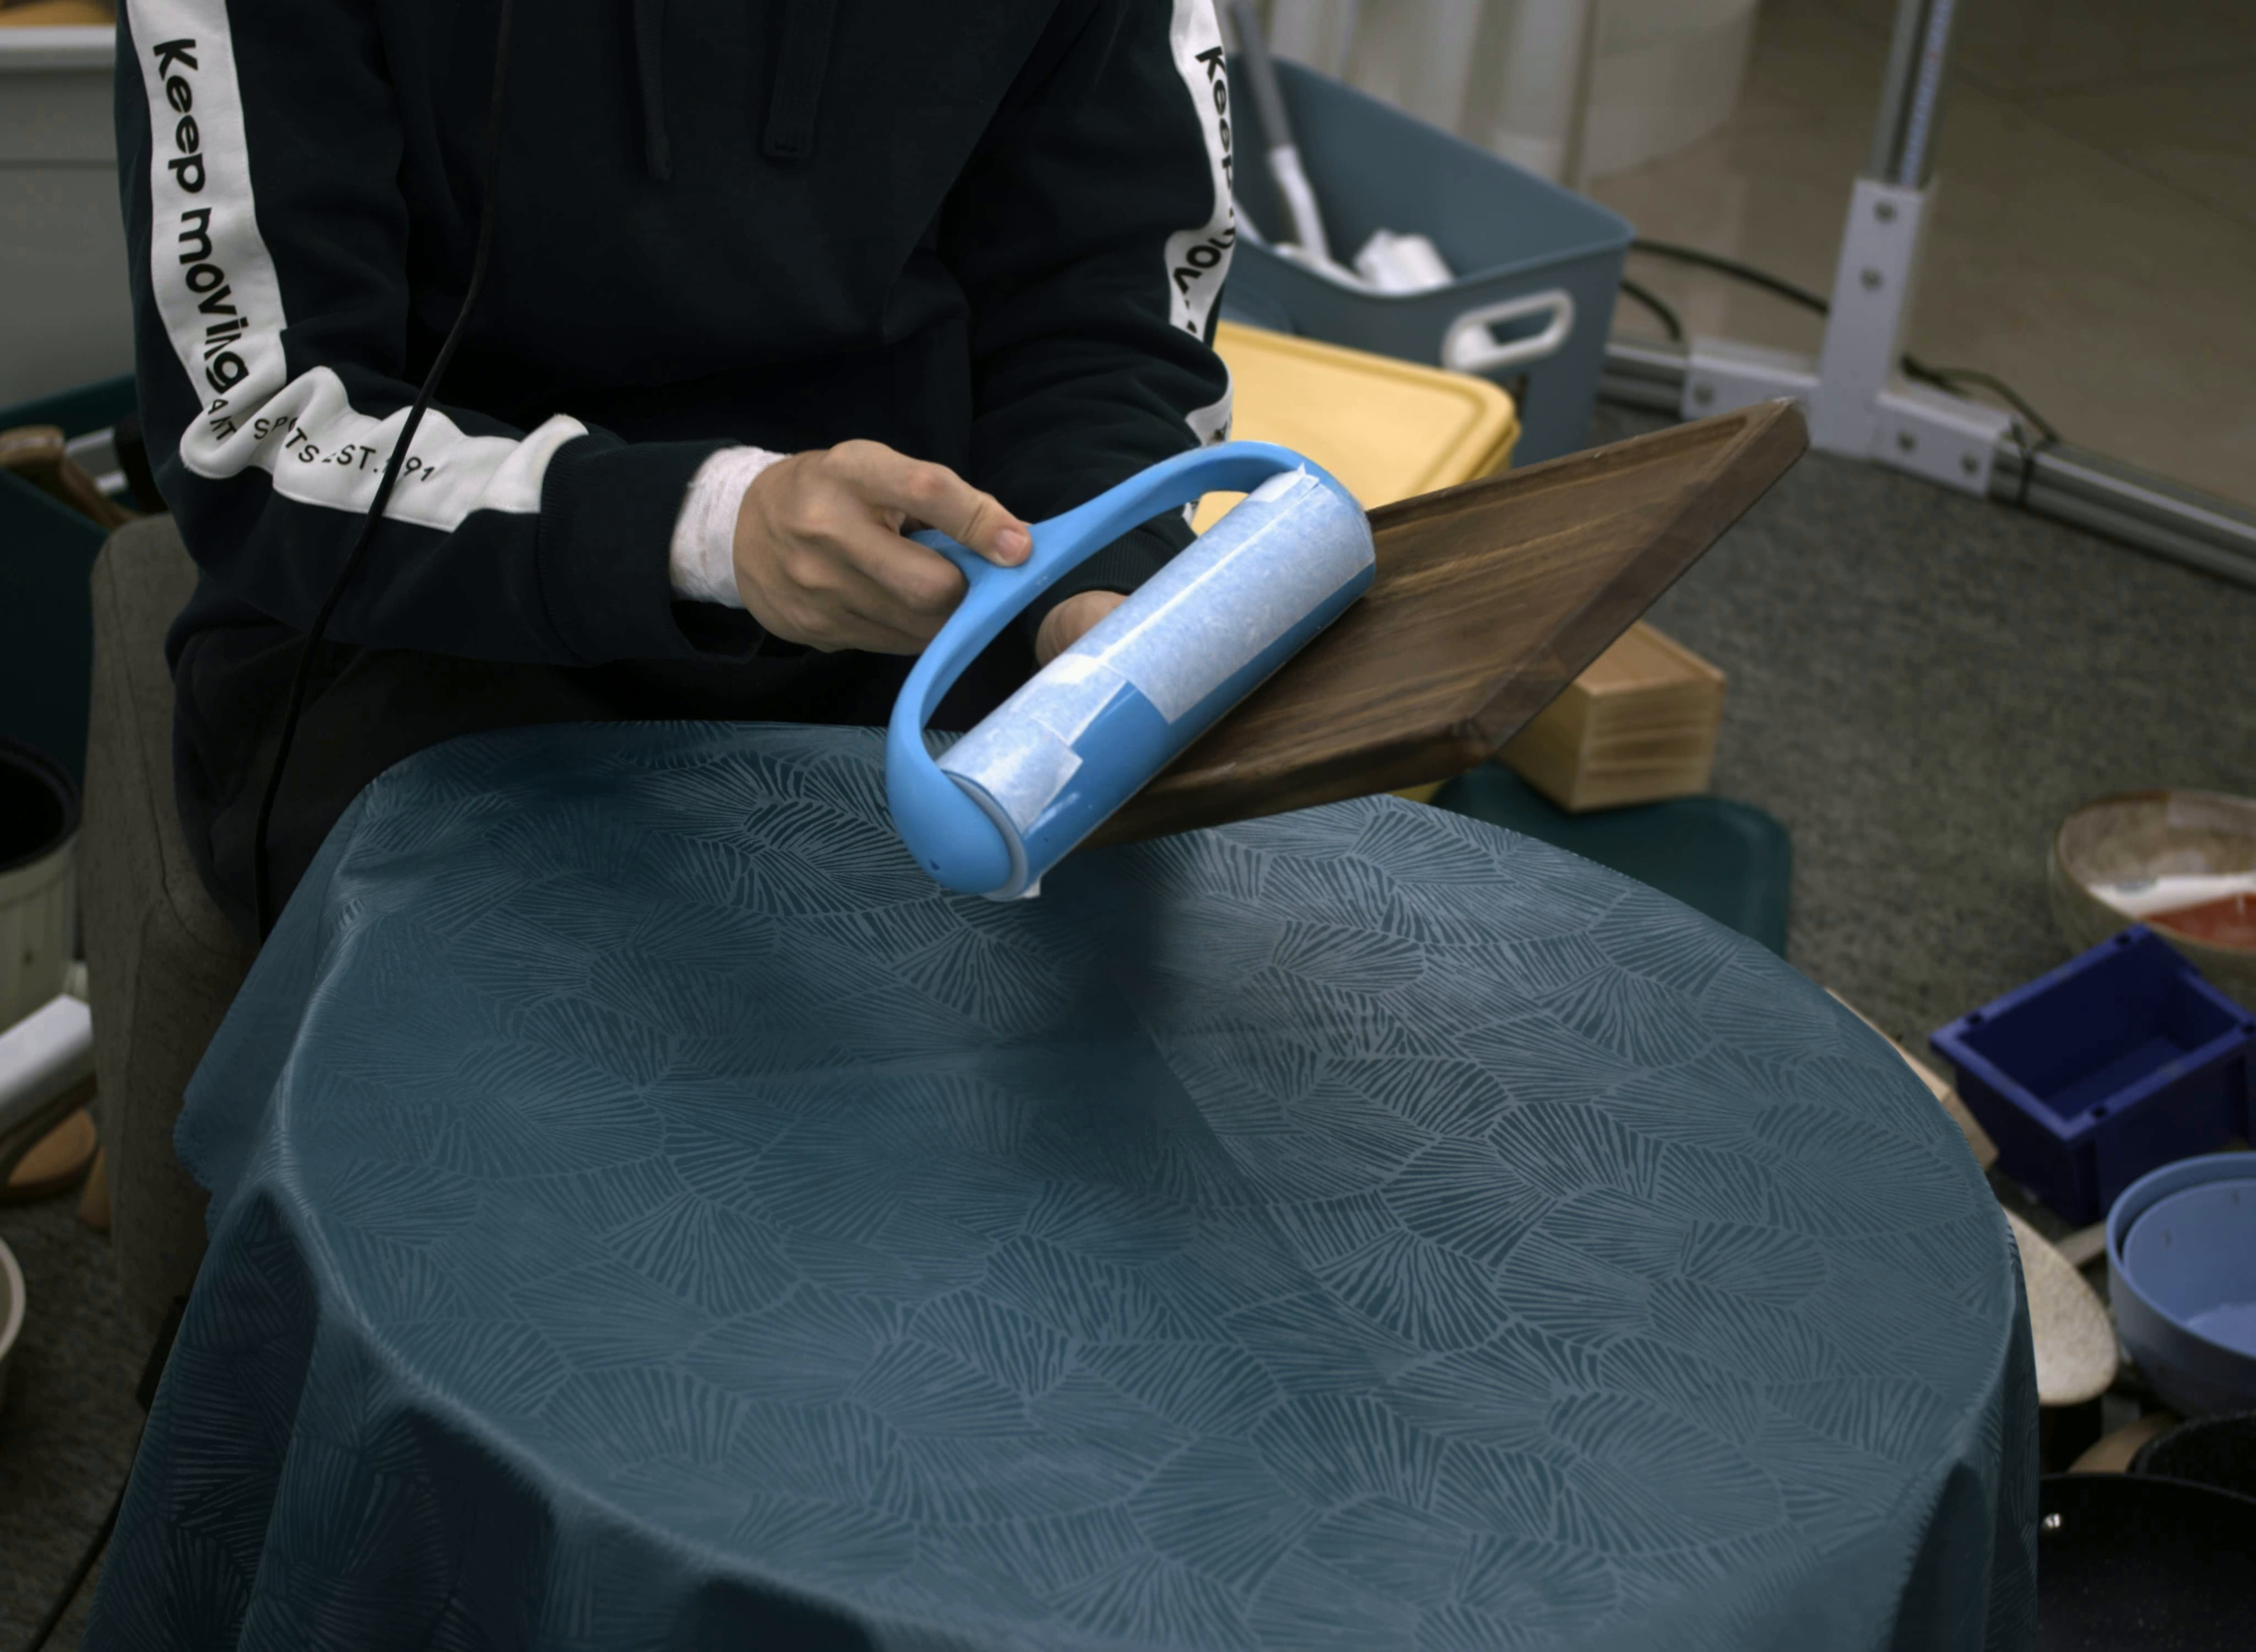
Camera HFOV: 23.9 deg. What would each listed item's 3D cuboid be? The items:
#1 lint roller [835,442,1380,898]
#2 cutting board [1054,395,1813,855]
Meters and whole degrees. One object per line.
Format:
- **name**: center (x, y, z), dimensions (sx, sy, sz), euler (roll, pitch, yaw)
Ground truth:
- **lint roller**: center (-0.038, -0.069, 1.871), dimensions (0.181, 0.067, 0.229), euler (21, 49, 33)
- **cutting board**: center (0.070, -0.061, 1.873), dimensions (0.201, 0.023, 0.353), euler (-42, 16, -31)
